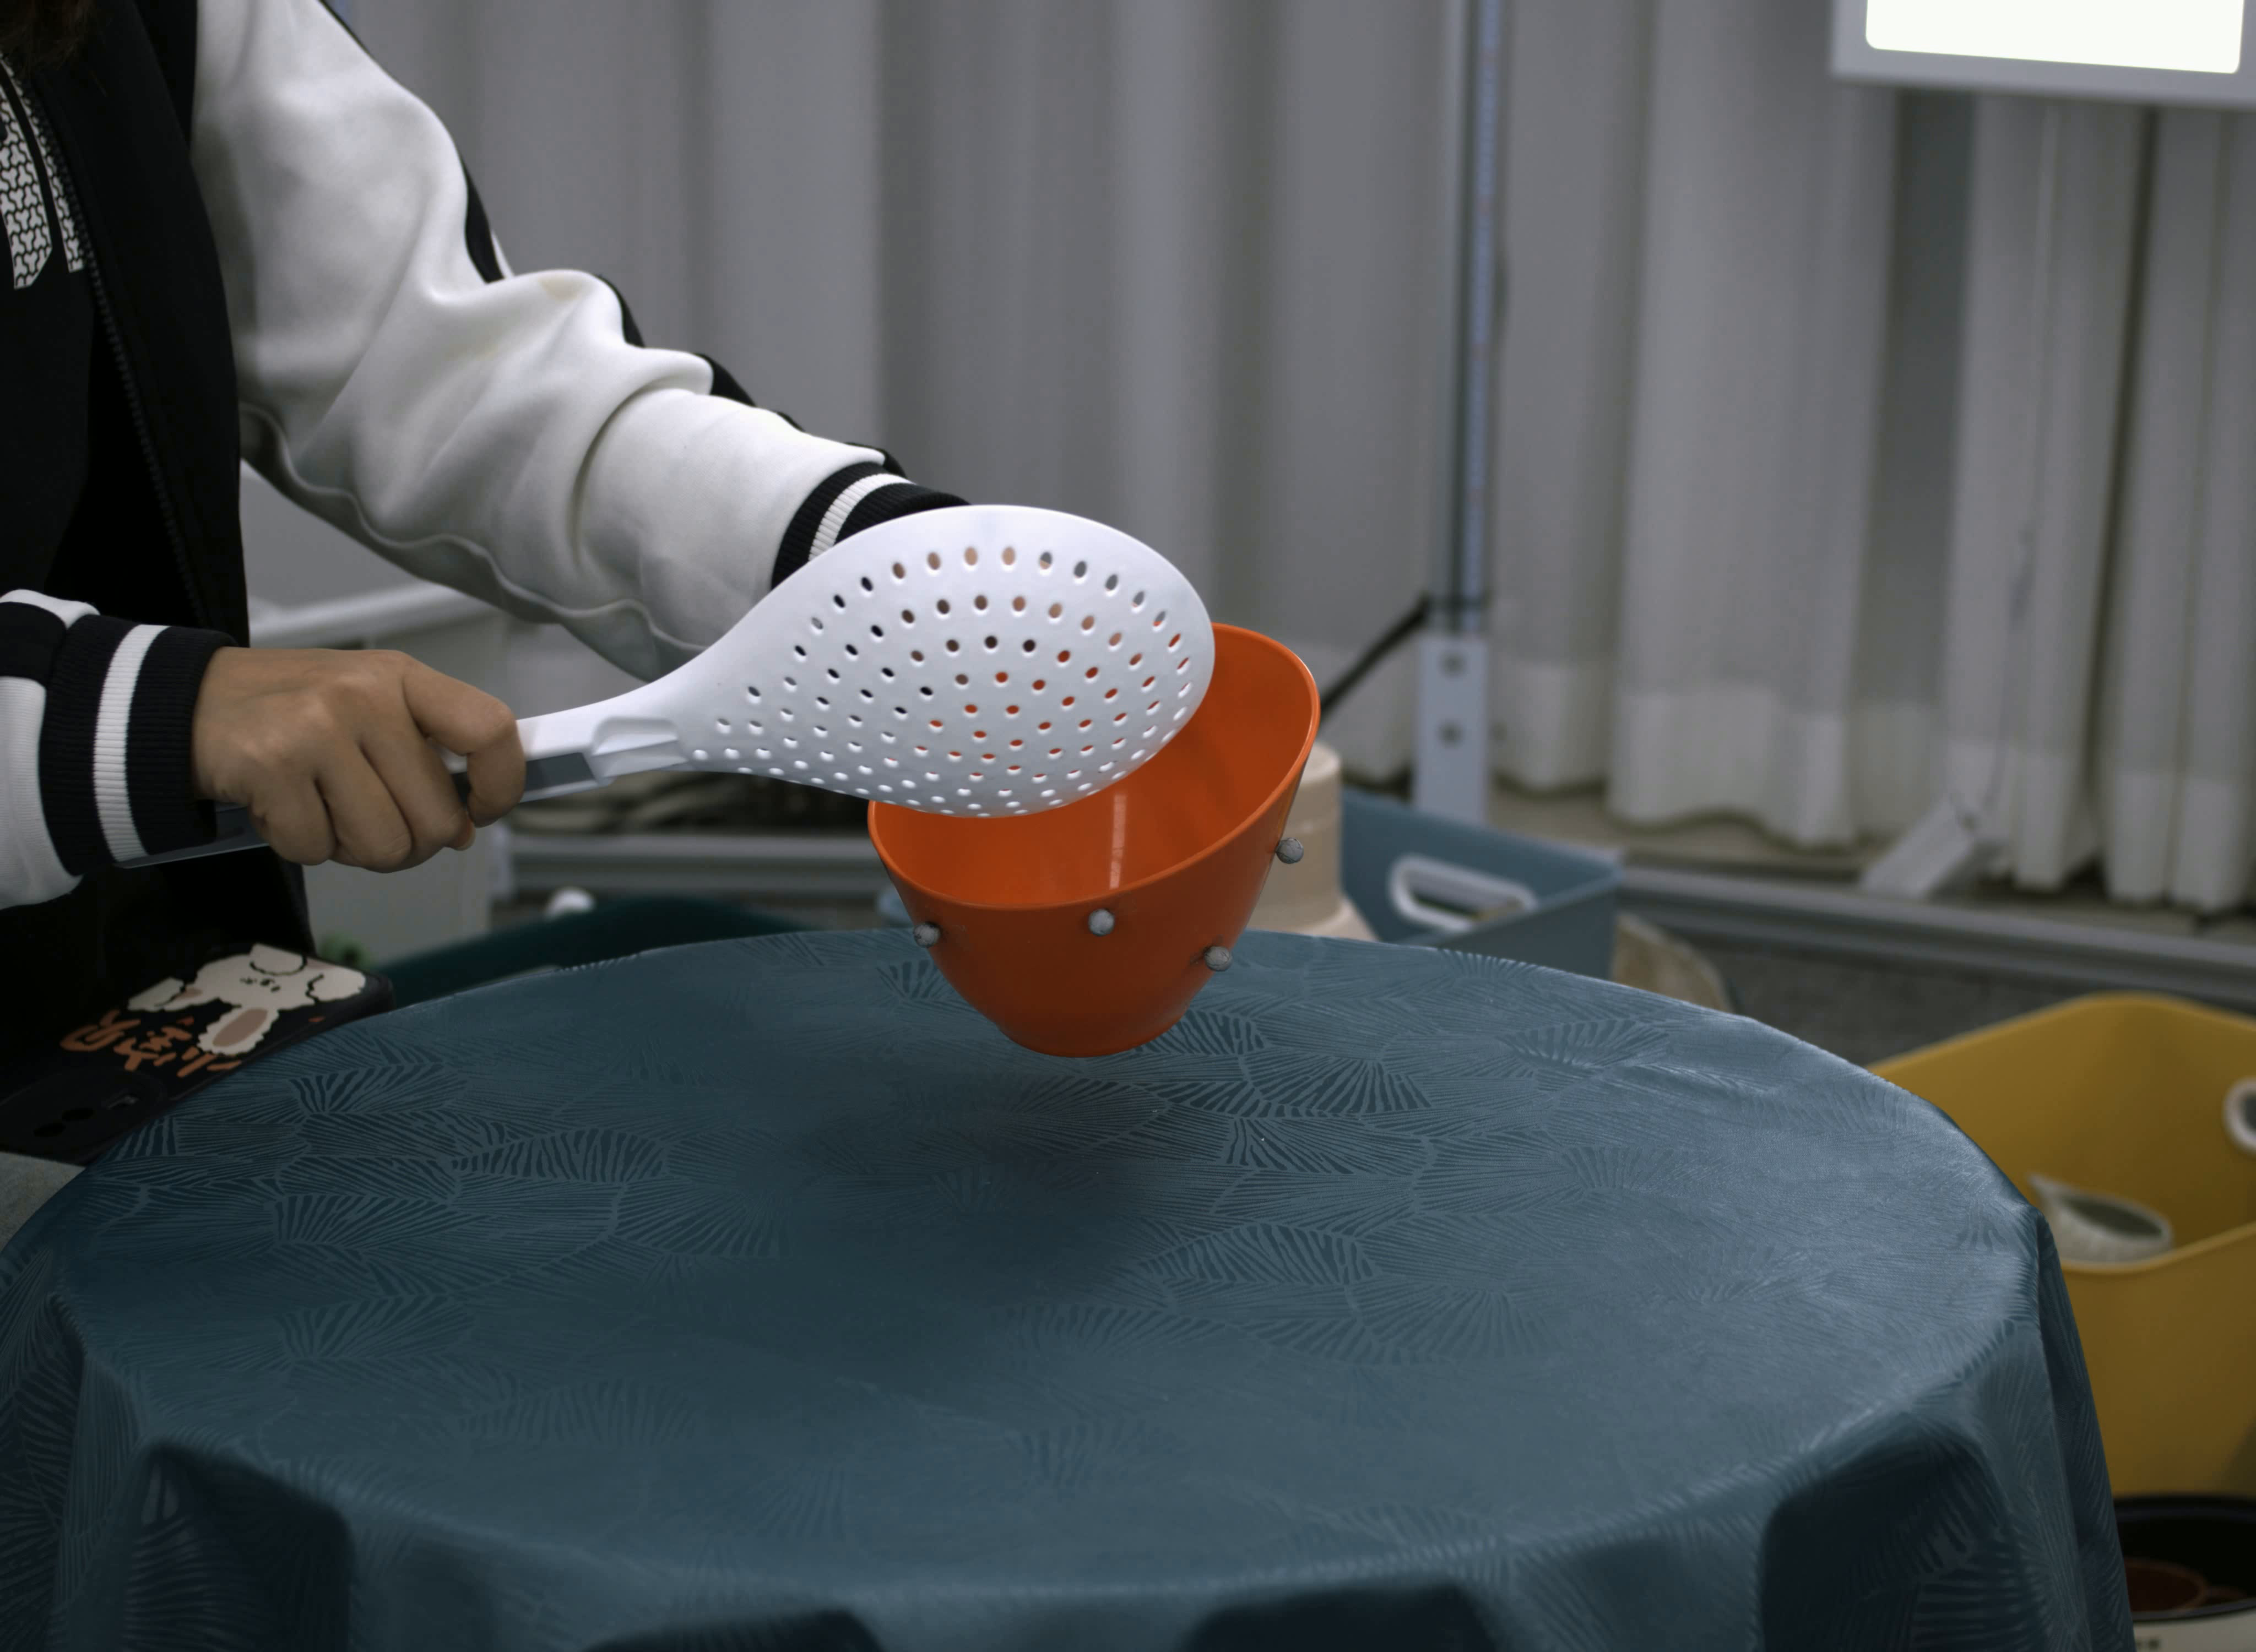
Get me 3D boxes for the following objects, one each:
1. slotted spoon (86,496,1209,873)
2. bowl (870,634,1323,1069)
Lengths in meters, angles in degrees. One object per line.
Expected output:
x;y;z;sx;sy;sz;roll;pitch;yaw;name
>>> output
-0.147;-0.028;1.581;0.347;0.138;0.045;-6;52;13;slotted spoon
-0.005;0.016;1.681;0.147;0.106;0.147;-5;34;4;bowl
